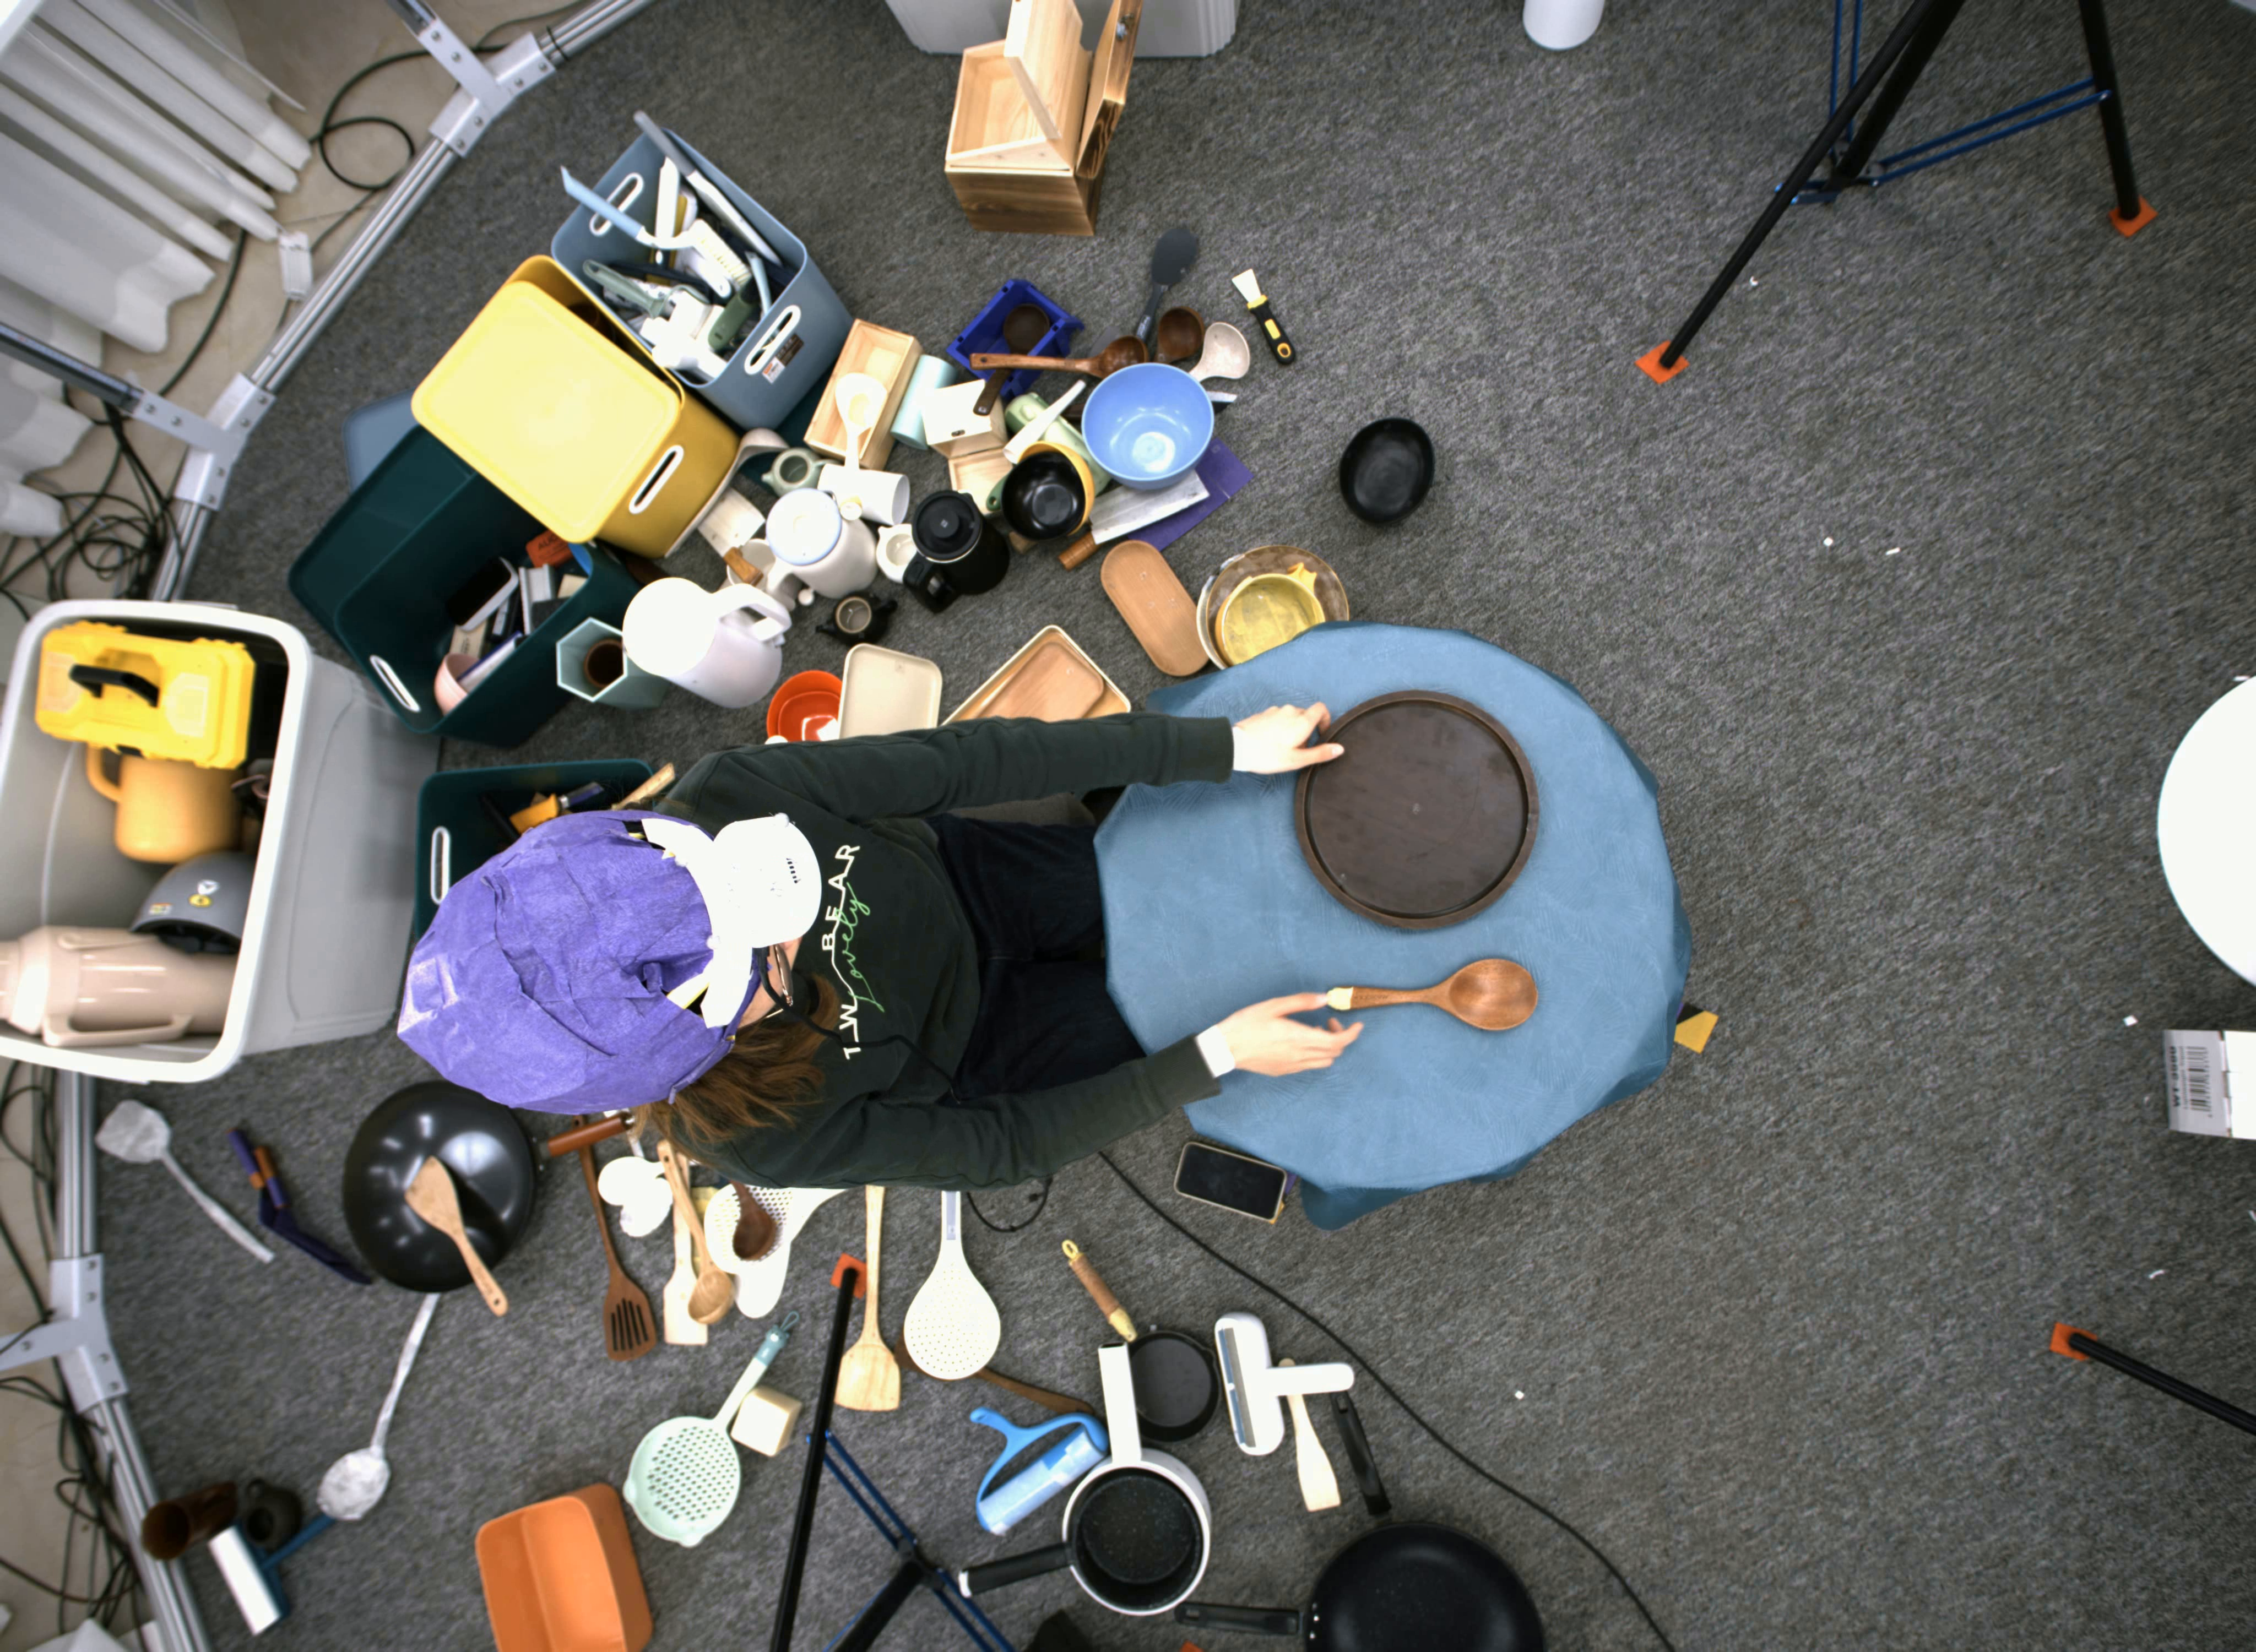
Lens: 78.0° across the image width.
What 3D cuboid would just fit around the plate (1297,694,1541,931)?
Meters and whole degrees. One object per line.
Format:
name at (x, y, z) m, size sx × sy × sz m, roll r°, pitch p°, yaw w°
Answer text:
plate at (0.305, -0.016, 1.453) m, size 0.256 × 0.029 × 0.253 m, roll -1°, pitch 85°, yaw 9°

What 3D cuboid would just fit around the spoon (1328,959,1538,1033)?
spoon at (0.317, 0.178, 1.440) m, size 0.217 × 0.017 × 0.075 m, roll -3°, pitch 85°, yaw 10°
